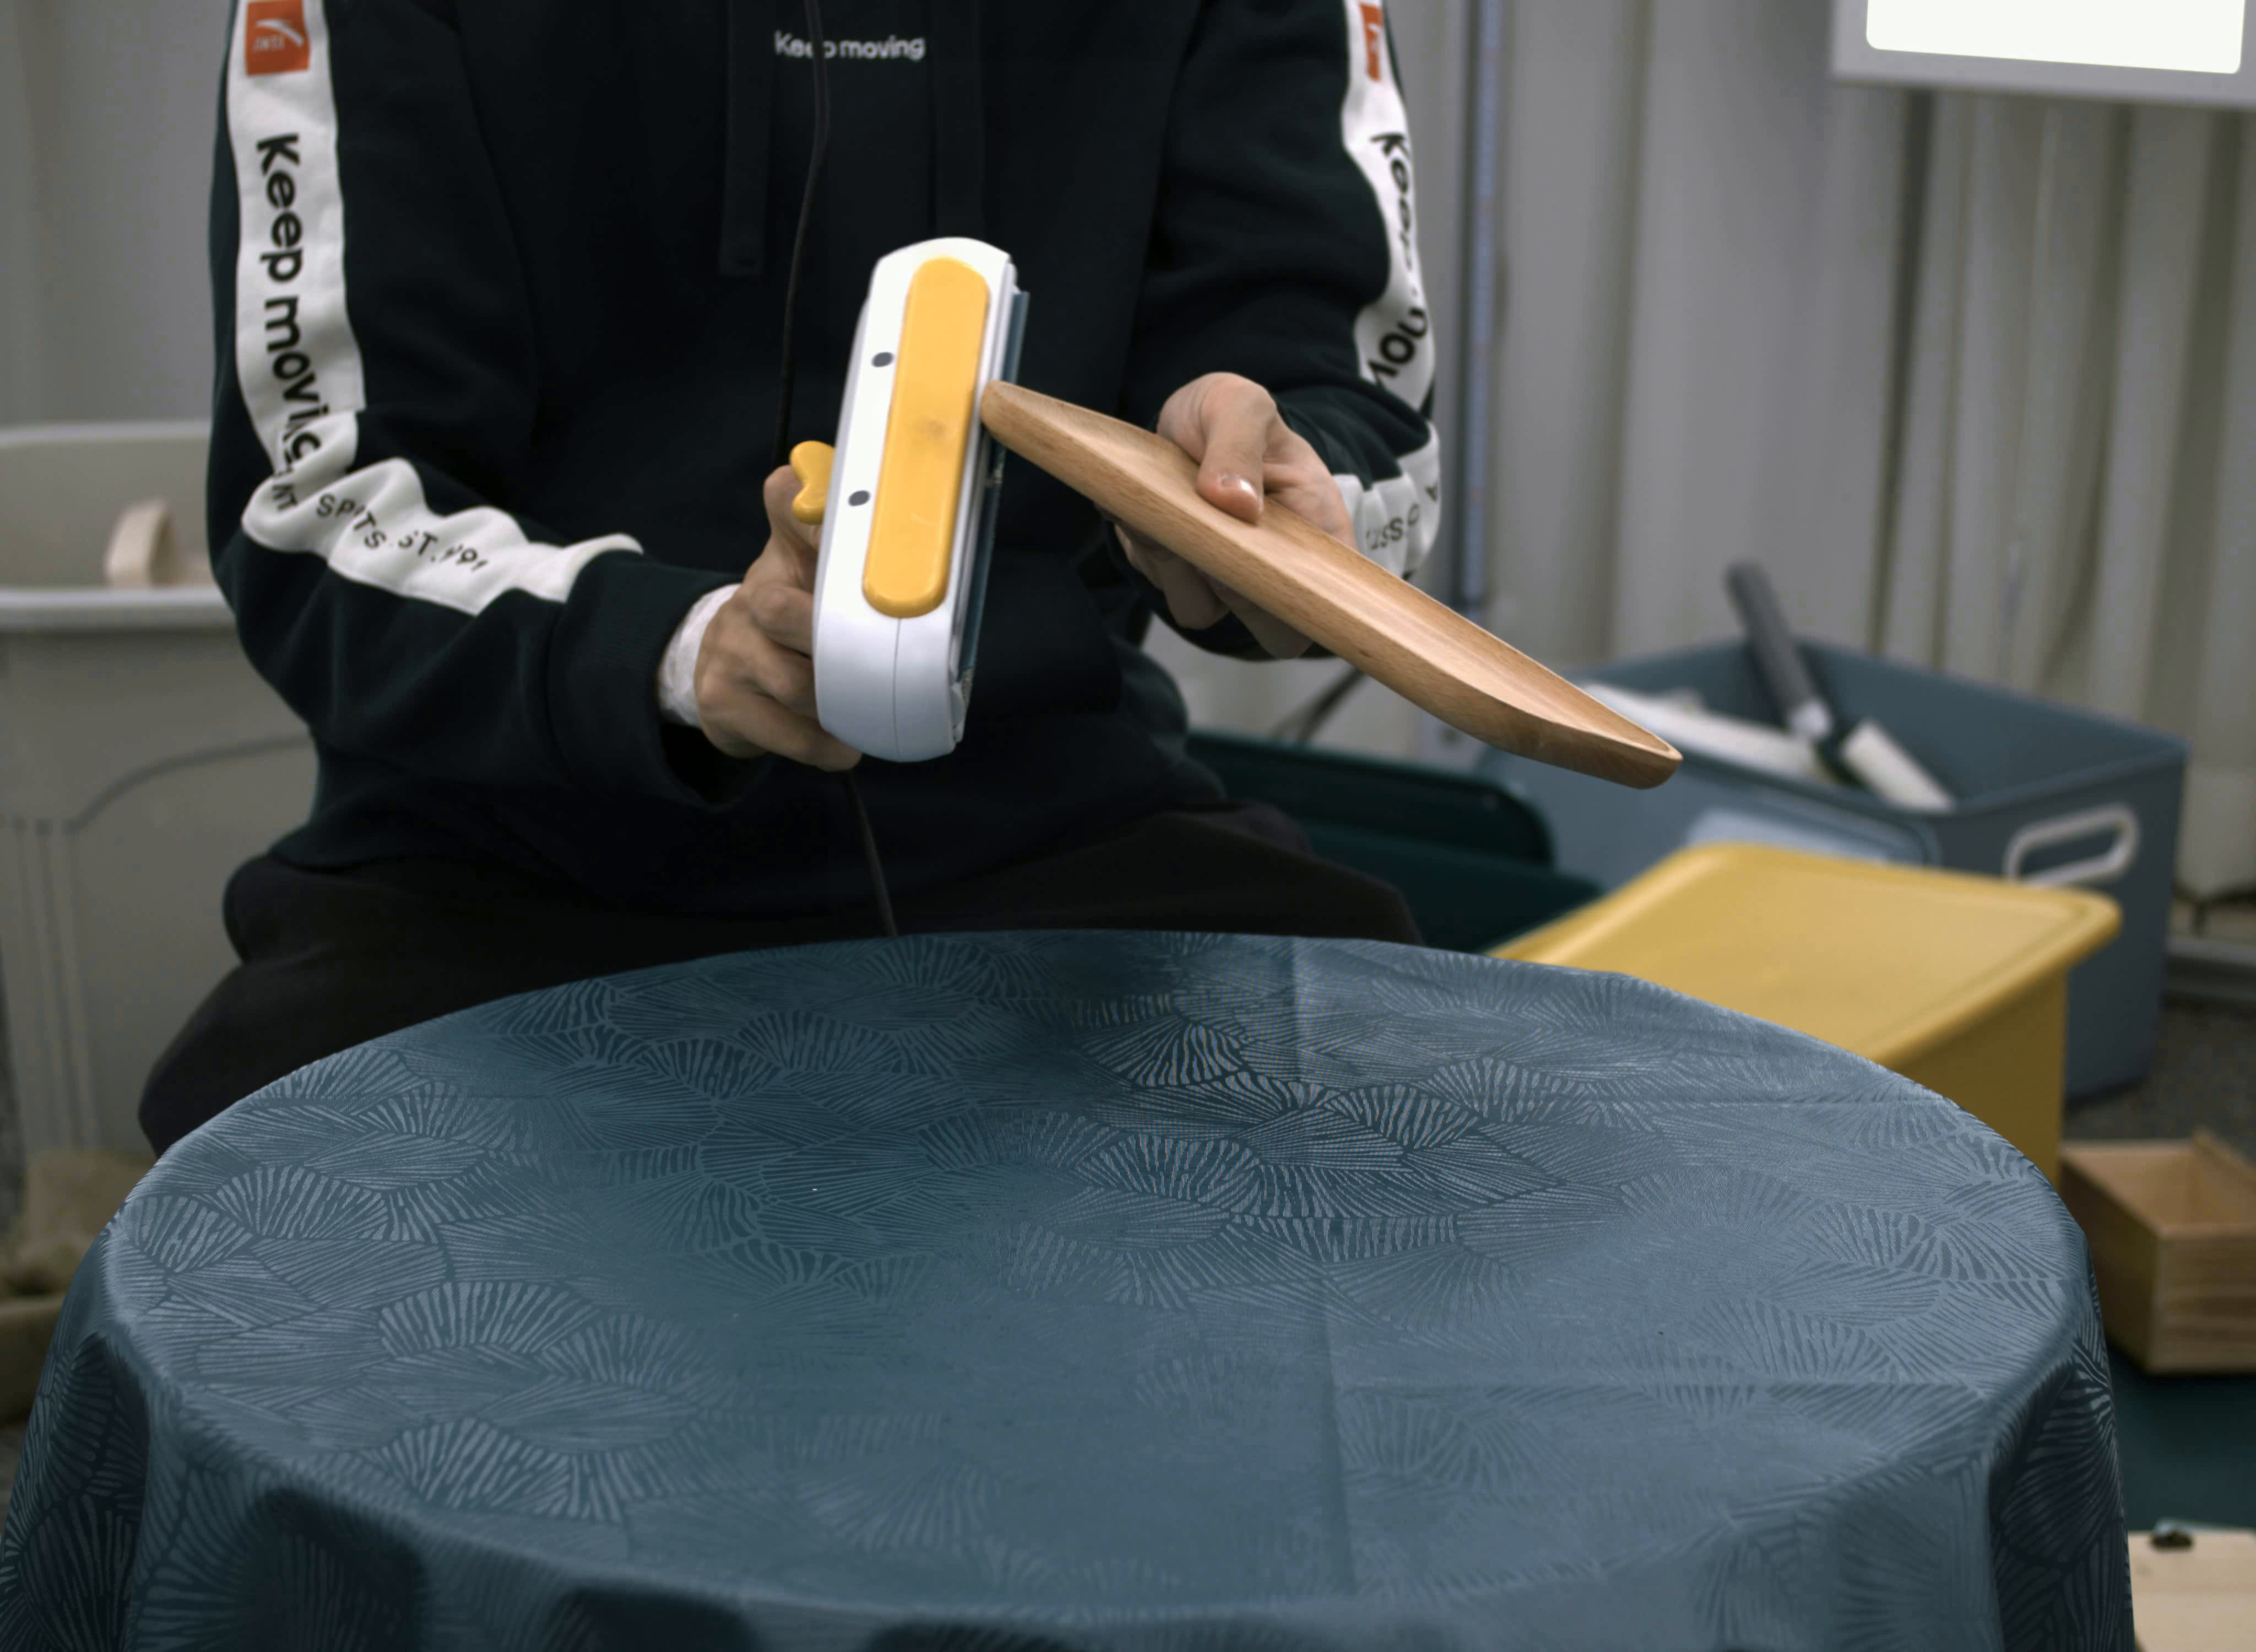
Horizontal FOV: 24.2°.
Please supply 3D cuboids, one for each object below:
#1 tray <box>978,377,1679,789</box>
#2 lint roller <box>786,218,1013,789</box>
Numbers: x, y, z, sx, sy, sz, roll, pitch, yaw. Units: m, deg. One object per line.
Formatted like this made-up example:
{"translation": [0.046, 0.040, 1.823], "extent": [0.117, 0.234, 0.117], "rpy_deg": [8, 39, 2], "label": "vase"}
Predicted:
{"translation": [0.061, -0.078, 1.690], "extent": [0.247, 0.023, 0.132], "rpy_deg": [34, 9, 36], "label": "tray"}
{"translation": [-0.082, -0.081, 1.785], "extent": [0.074, 0.194, 0.191], "rpy_deg": [4, 53, -5], "label": "lint roller"}
